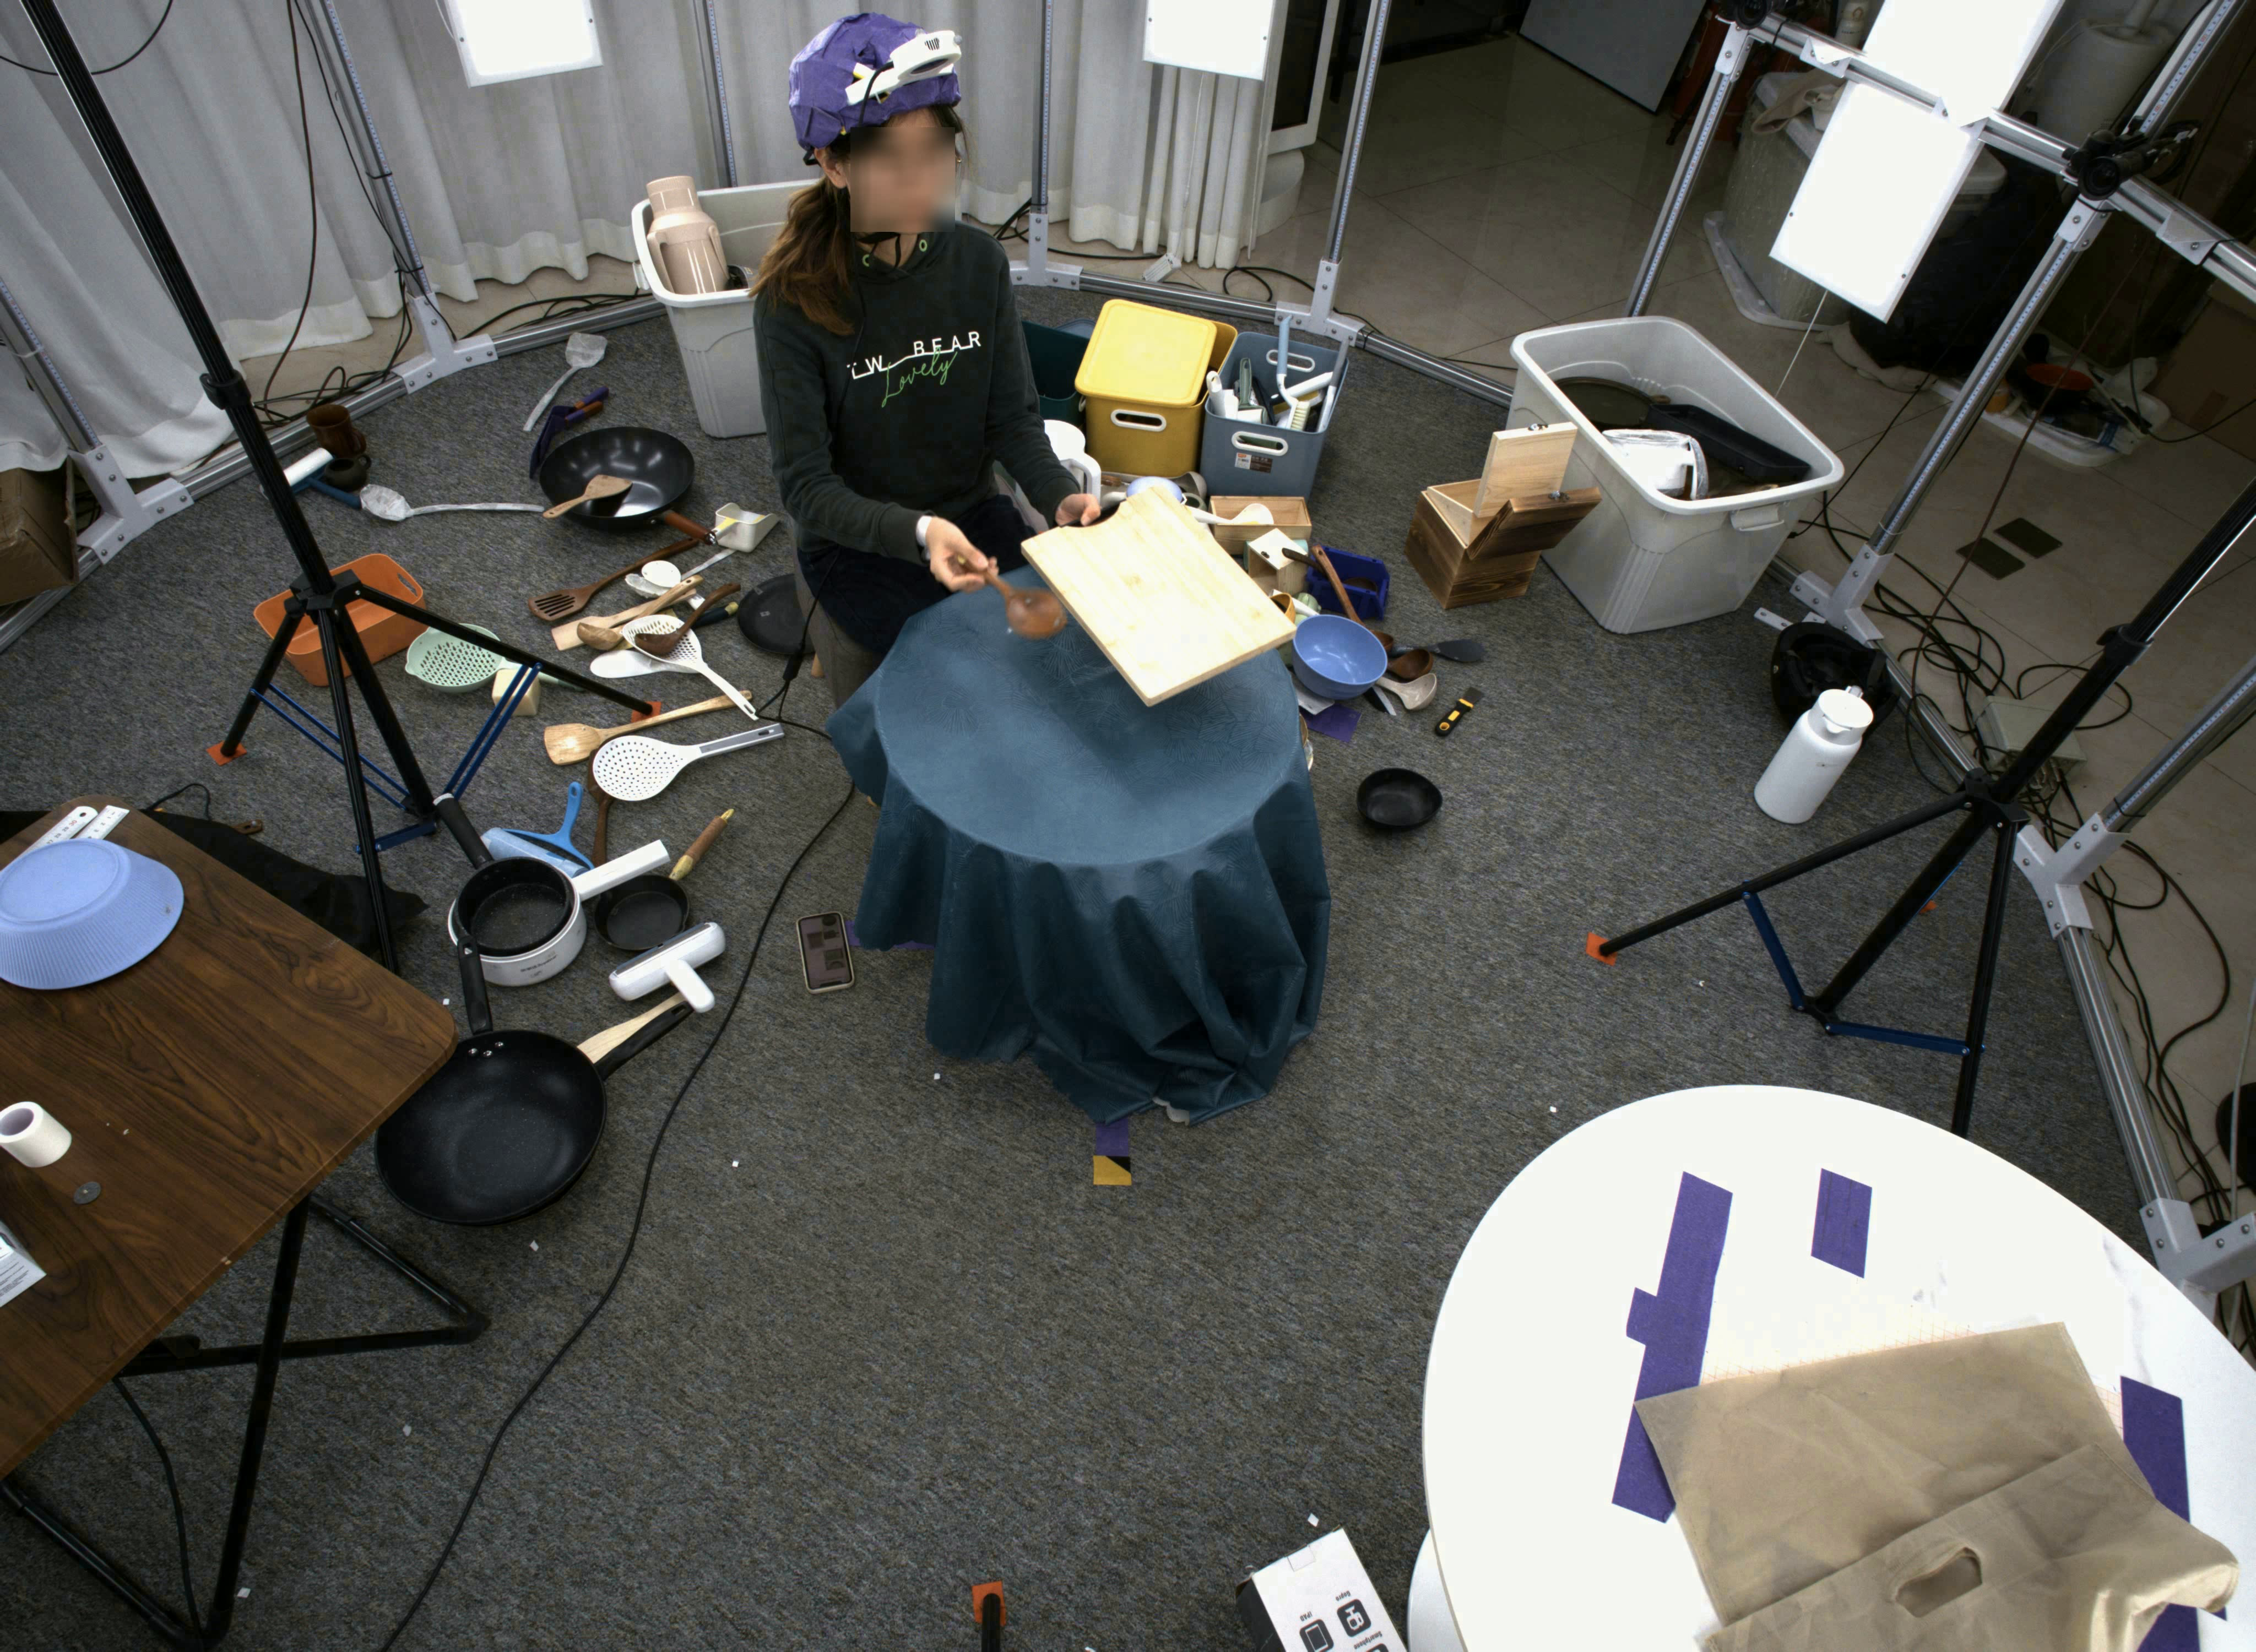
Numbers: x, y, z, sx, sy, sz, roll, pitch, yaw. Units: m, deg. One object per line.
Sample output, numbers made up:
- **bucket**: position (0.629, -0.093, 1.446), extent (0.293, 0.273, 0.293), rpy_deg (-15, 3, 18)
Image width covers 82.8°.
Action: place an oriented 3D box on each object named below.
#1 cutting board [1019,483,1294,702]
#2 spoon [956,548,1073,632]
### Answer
- **cutting board**: position (0.034, -0.335, 1.803), extent (0.252, 0.023, 0.355), rpy_deg (-27, 58, -19)
- **spoon**: position (-0.154, -0.315, 1.697), extent (0.076, 0.017, 0.219), rpy_deg (-40, 57, -17)
